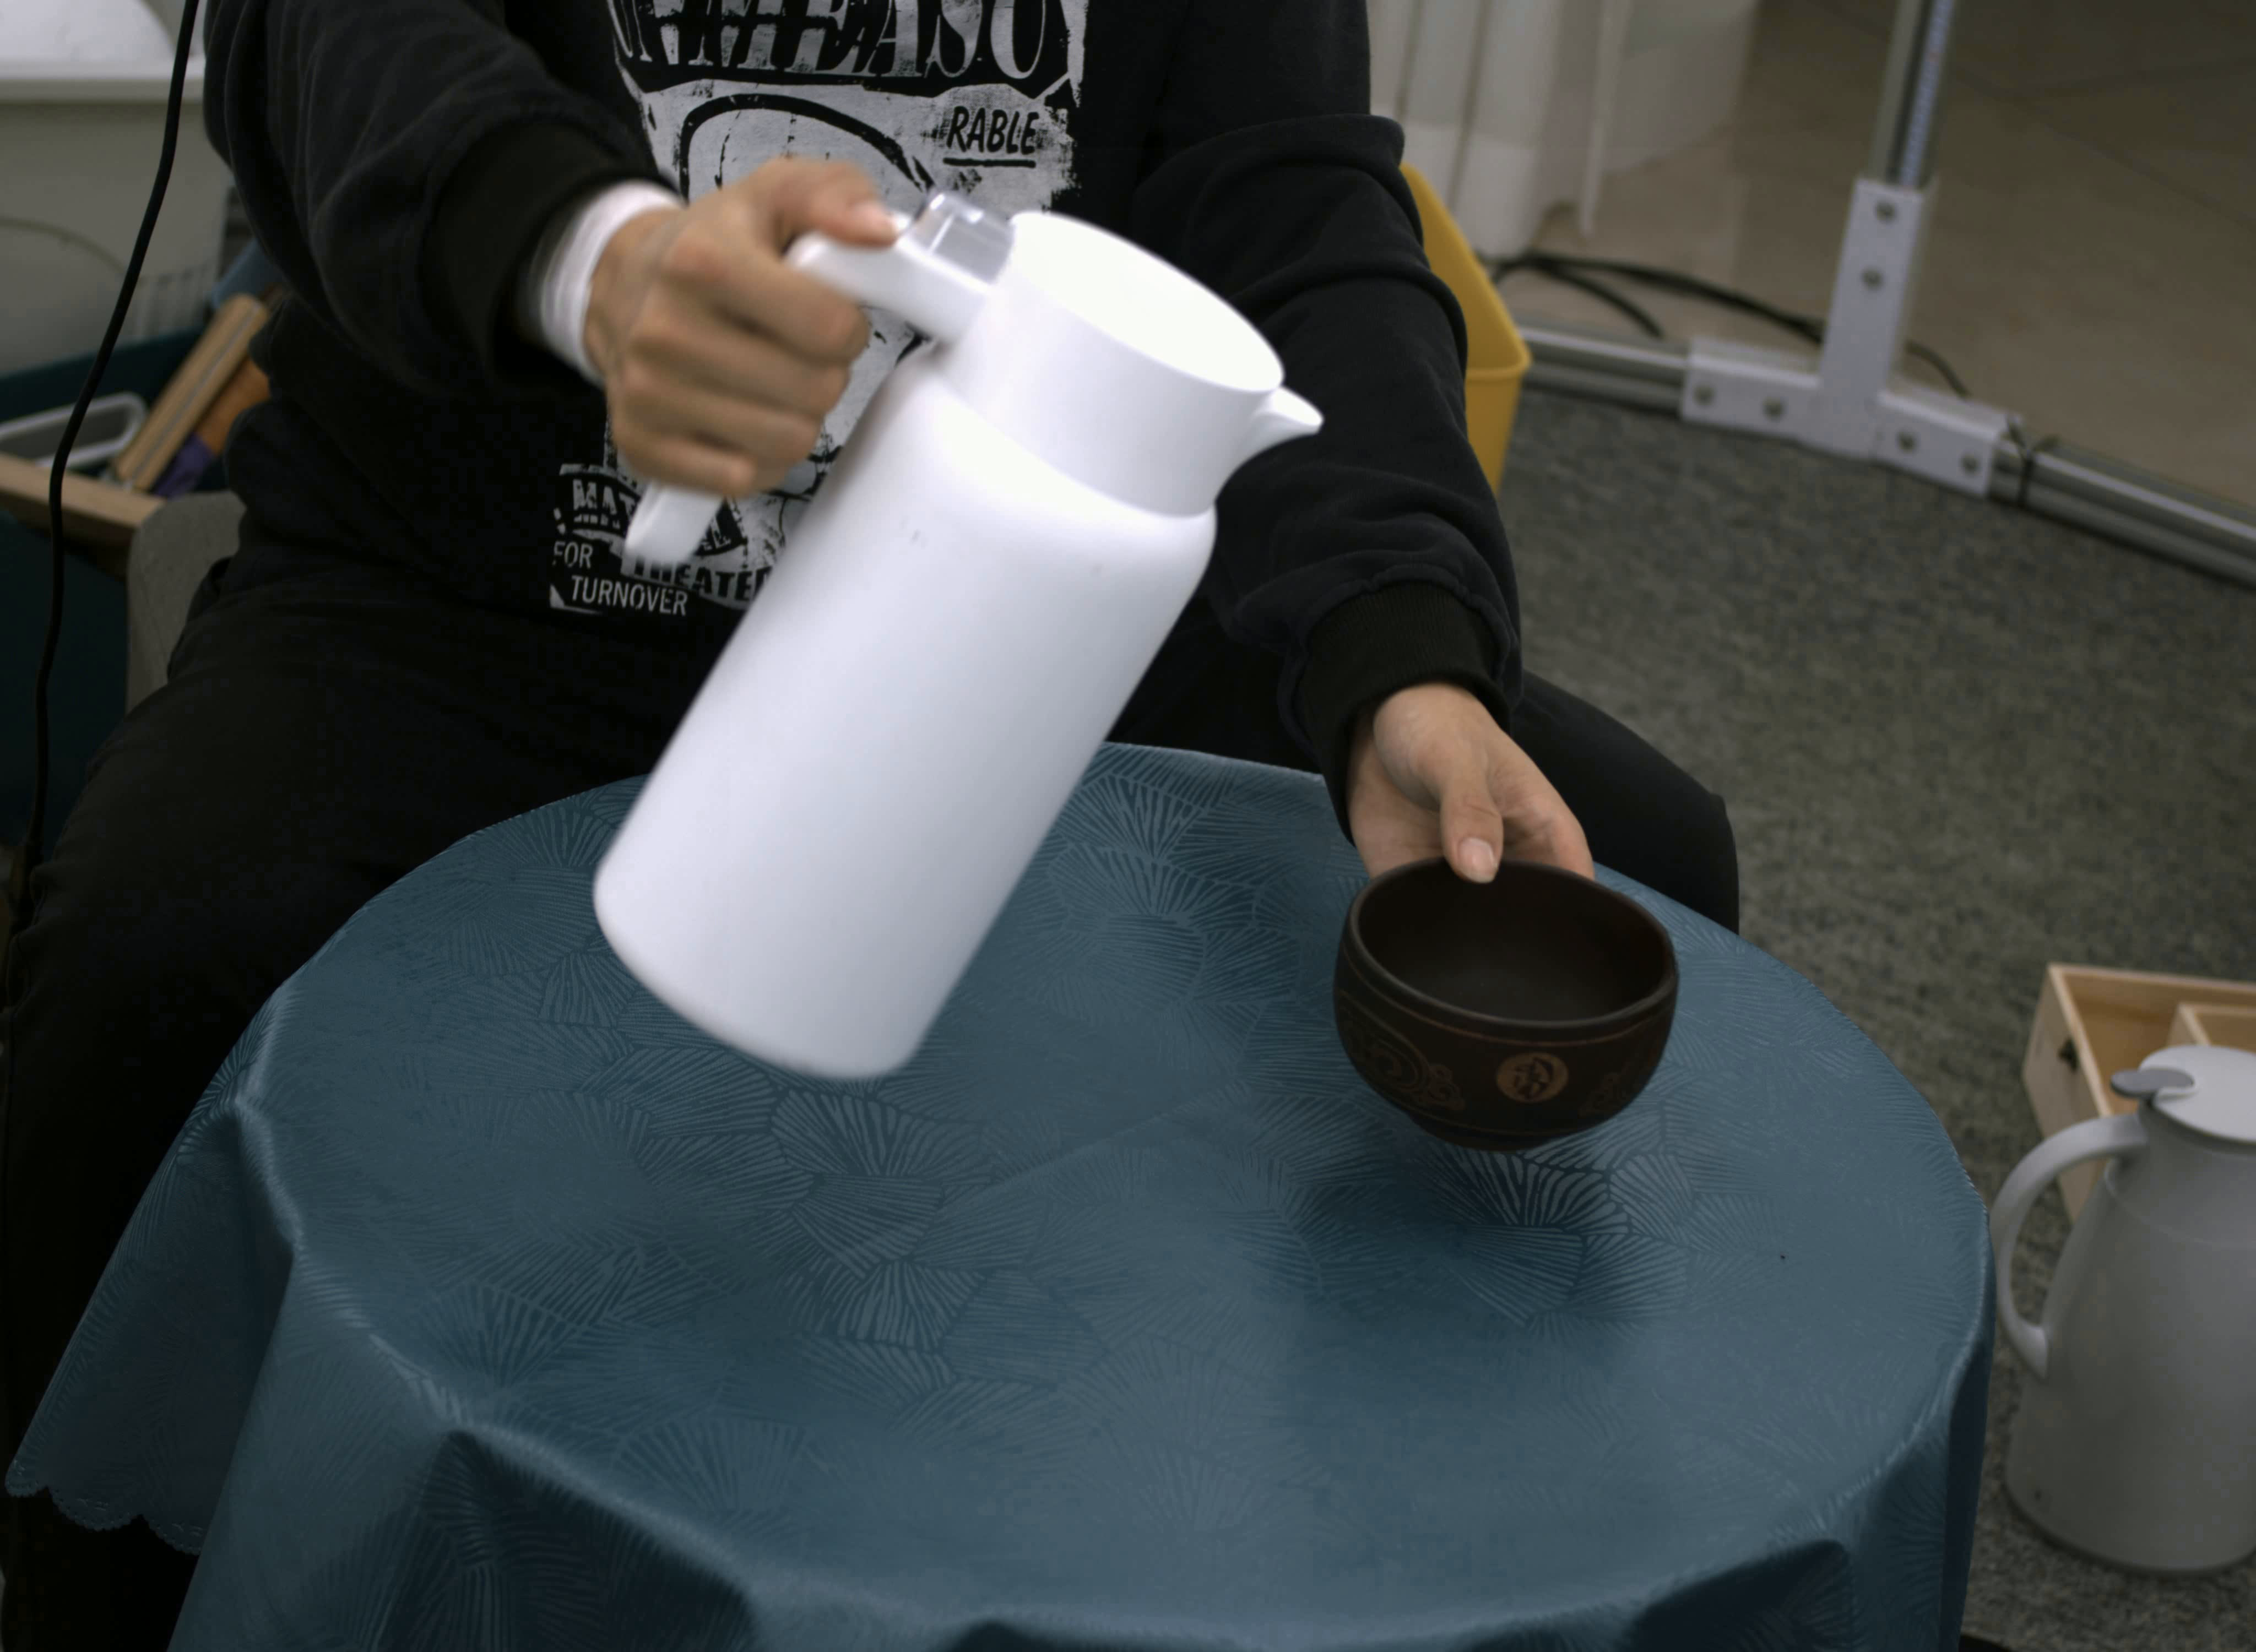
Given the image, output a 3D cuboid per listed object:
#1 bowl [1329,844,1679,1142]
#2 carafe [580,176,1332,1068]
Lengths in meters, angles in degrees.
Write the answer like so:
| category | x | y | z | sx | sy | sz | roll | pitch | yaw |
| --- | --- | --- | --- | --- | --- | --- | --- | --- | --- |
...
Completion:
| category | x | y | z | sx | sy | sz | roll | pitch | yaw |
| --- | --- | --- | --- | --- | --- | --- | --- | --- | --- |
| bowl | 0.125 | 0.064 | 1.812 | 0.117 | 0.069 | 0.119 | 5 | 28 | -3 |
| carafe | -0.075 | -0.067 | 1.660 | 0.172 | 0.268 | 0.124 | 27 | 21 | -17 |
